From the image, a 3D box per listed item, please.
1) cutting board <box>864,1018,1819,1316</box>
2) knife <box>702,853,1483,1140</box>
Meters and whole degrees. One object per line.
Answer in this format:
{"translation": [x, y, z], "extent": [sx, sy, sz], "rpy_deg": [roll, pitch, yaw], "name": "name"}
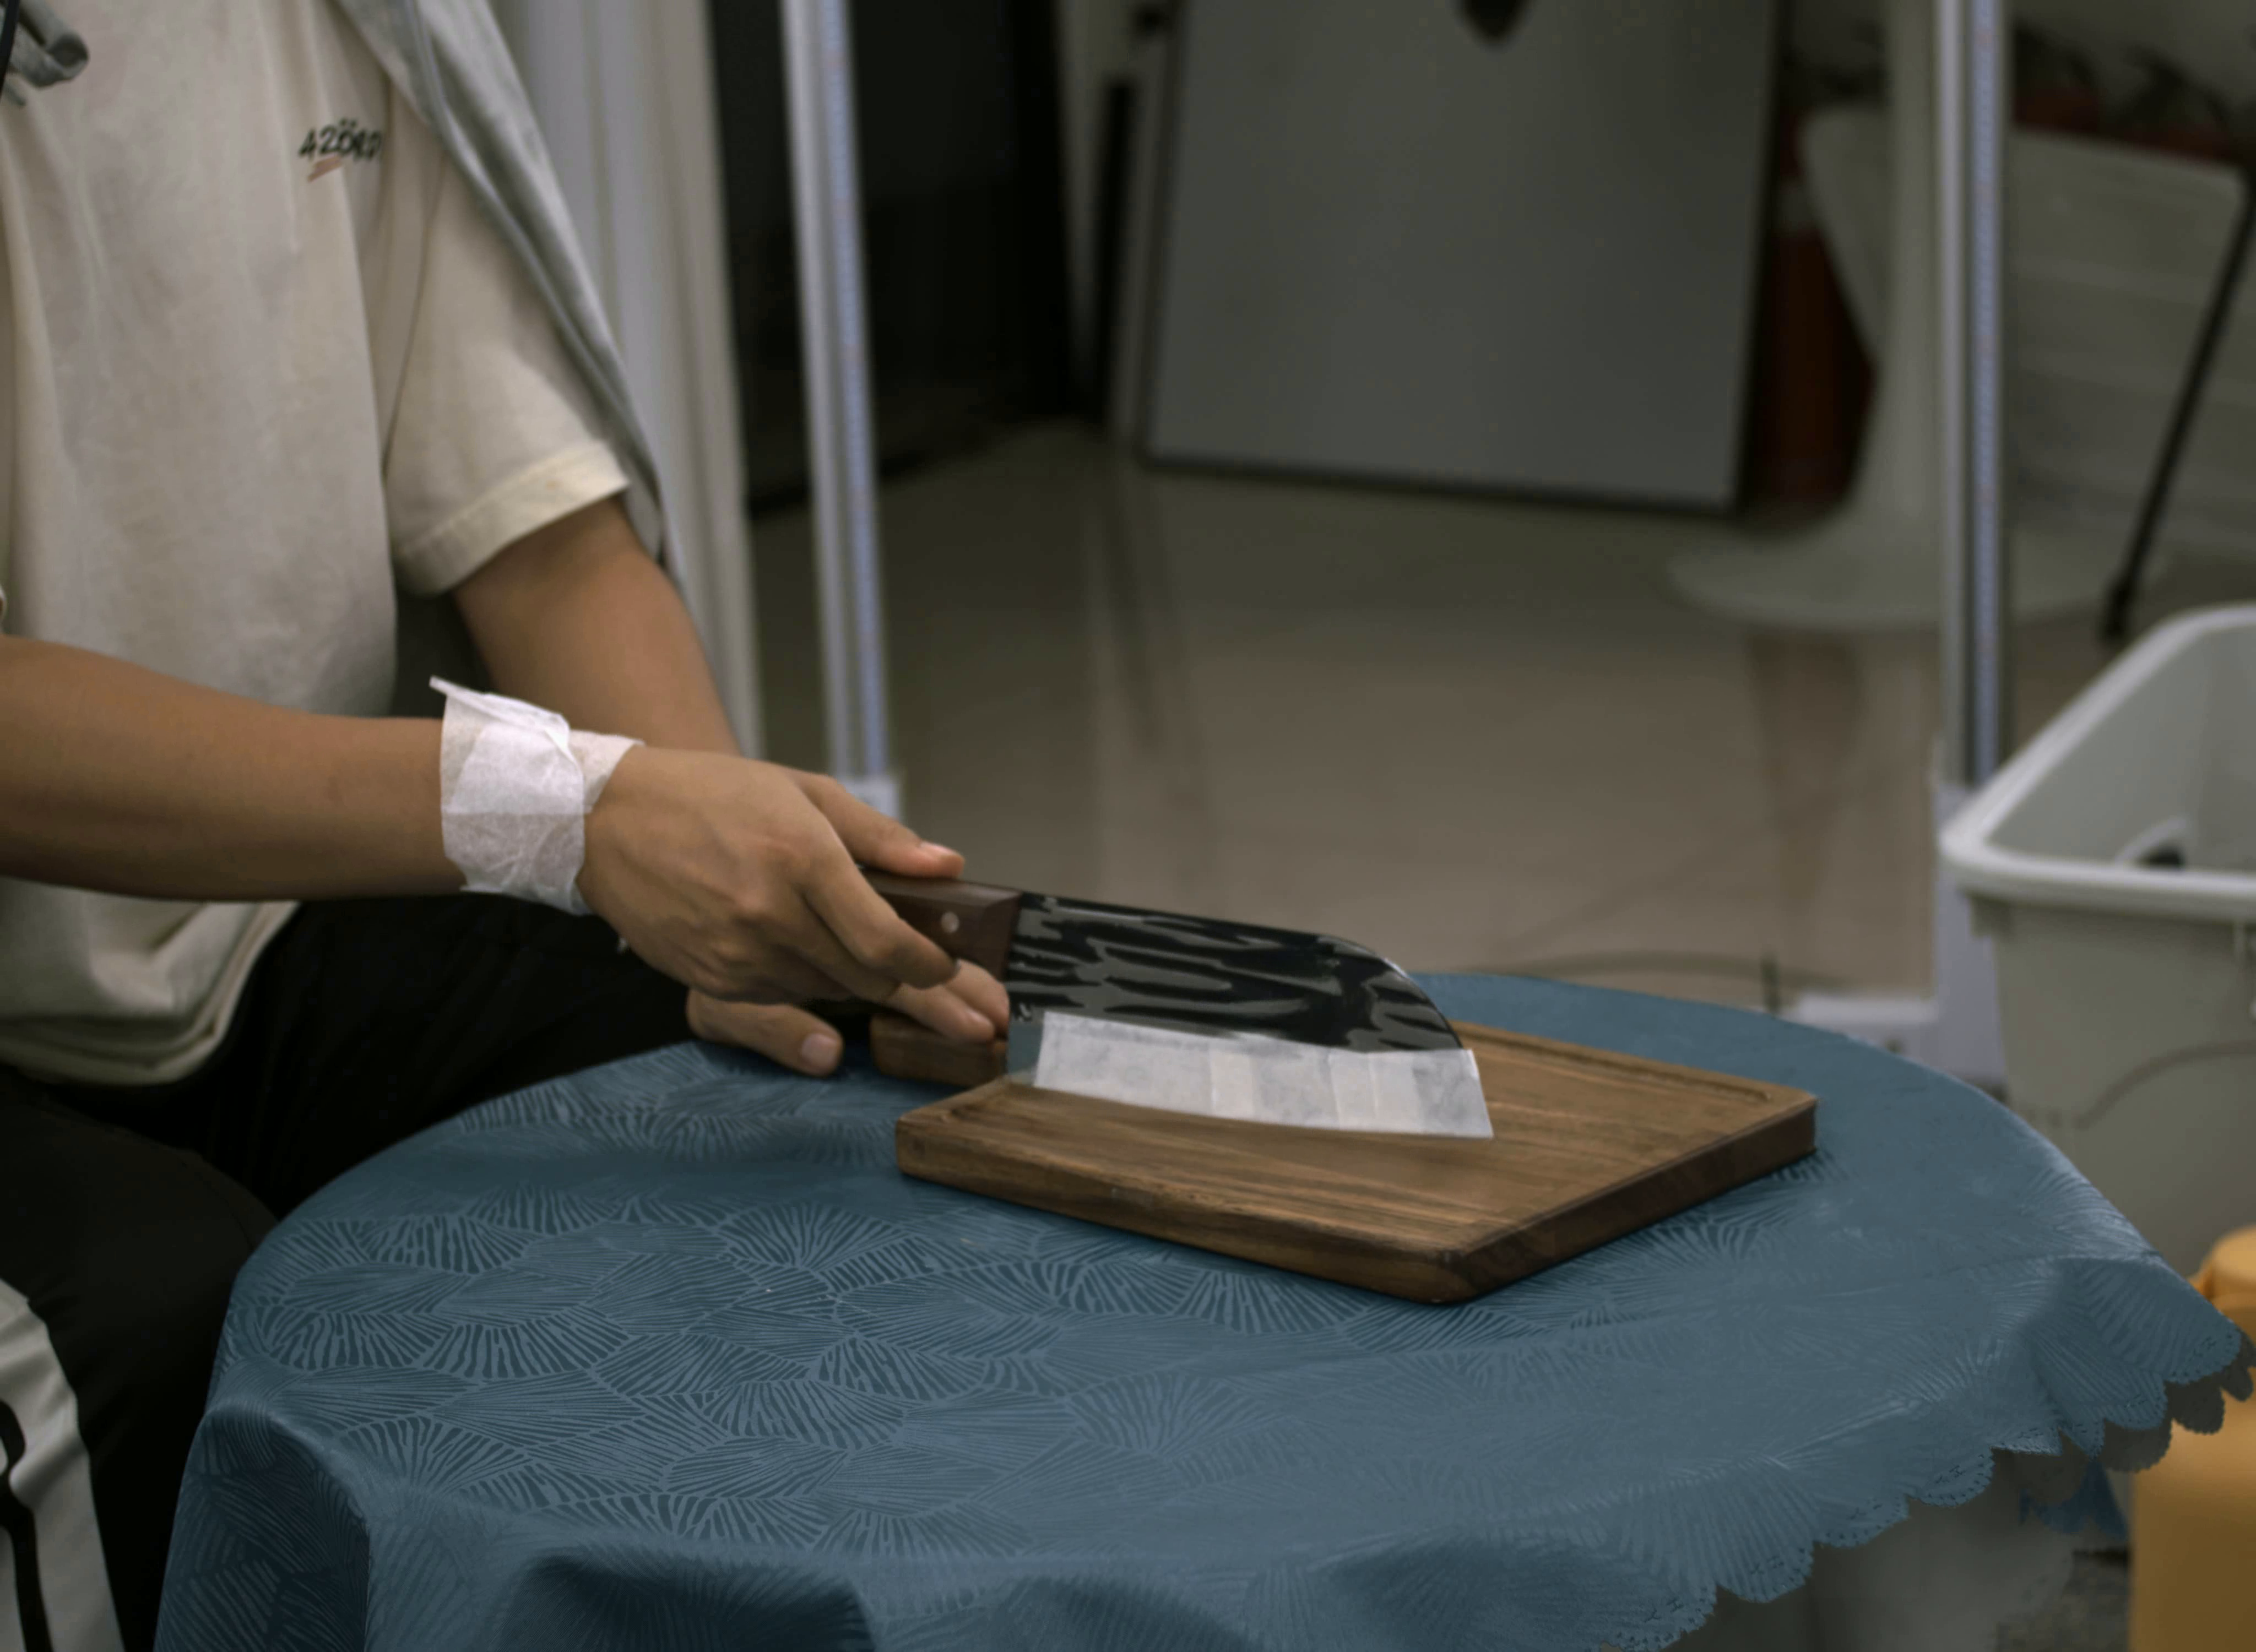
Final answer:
{"translation": [0.040, 0.099, 1.820], "extent": [0.355, 0.023, 0.197], "rpy_deg": [8, 20, 44], "name": "cutting board"}
{"translation": [-0.015, 0.057, 1.805], "extent": [0.300, 0.069, 0.023], "rpy_deg": [9, 10, 27], "name": "knife"}
